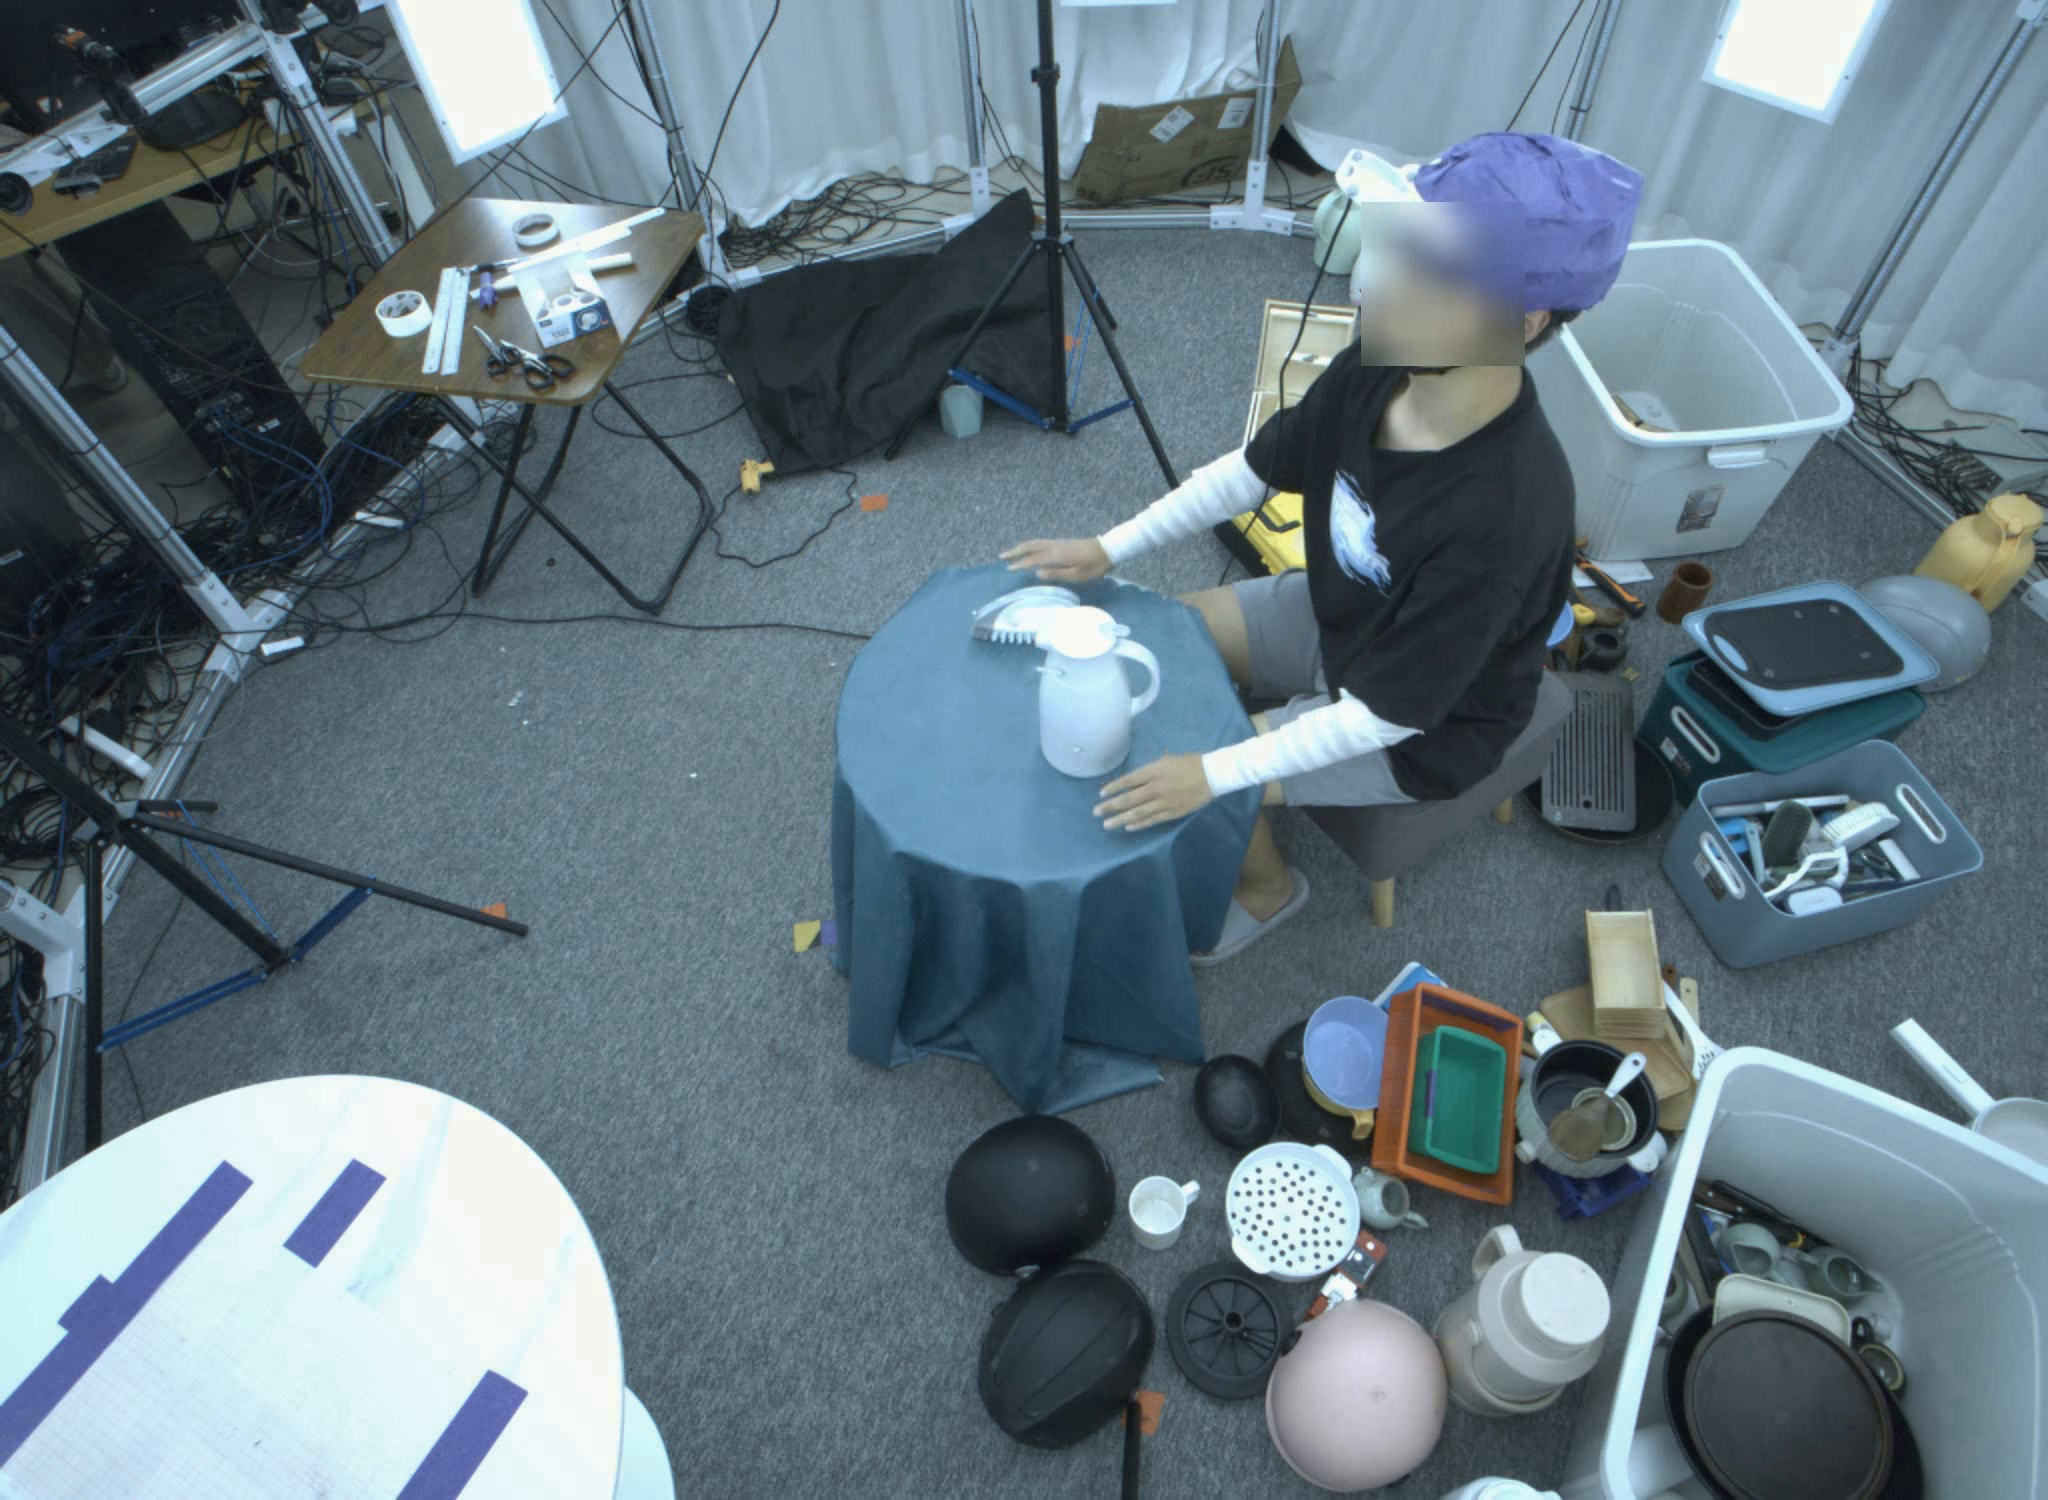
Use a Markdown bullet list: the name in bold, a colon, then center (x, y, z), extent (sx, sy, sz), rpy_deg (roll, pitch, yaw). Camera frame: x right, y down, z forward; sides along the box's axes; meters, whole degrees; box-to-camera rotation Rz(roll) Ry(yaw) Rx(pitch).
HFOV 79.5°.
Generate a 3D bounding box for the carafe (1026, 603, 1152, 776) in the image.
- **carafe**: center (0.090, -0.089, 1.685), extent (0.167, 0.251, 0.131), rpy_deg (1, 54, 4)

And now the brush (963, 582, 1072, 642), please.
- **brush**: center (-0.011, -0.212, 1.874), extent (0.176, 0.095, 0.060), rpy_deg (-6, 52, -1)
